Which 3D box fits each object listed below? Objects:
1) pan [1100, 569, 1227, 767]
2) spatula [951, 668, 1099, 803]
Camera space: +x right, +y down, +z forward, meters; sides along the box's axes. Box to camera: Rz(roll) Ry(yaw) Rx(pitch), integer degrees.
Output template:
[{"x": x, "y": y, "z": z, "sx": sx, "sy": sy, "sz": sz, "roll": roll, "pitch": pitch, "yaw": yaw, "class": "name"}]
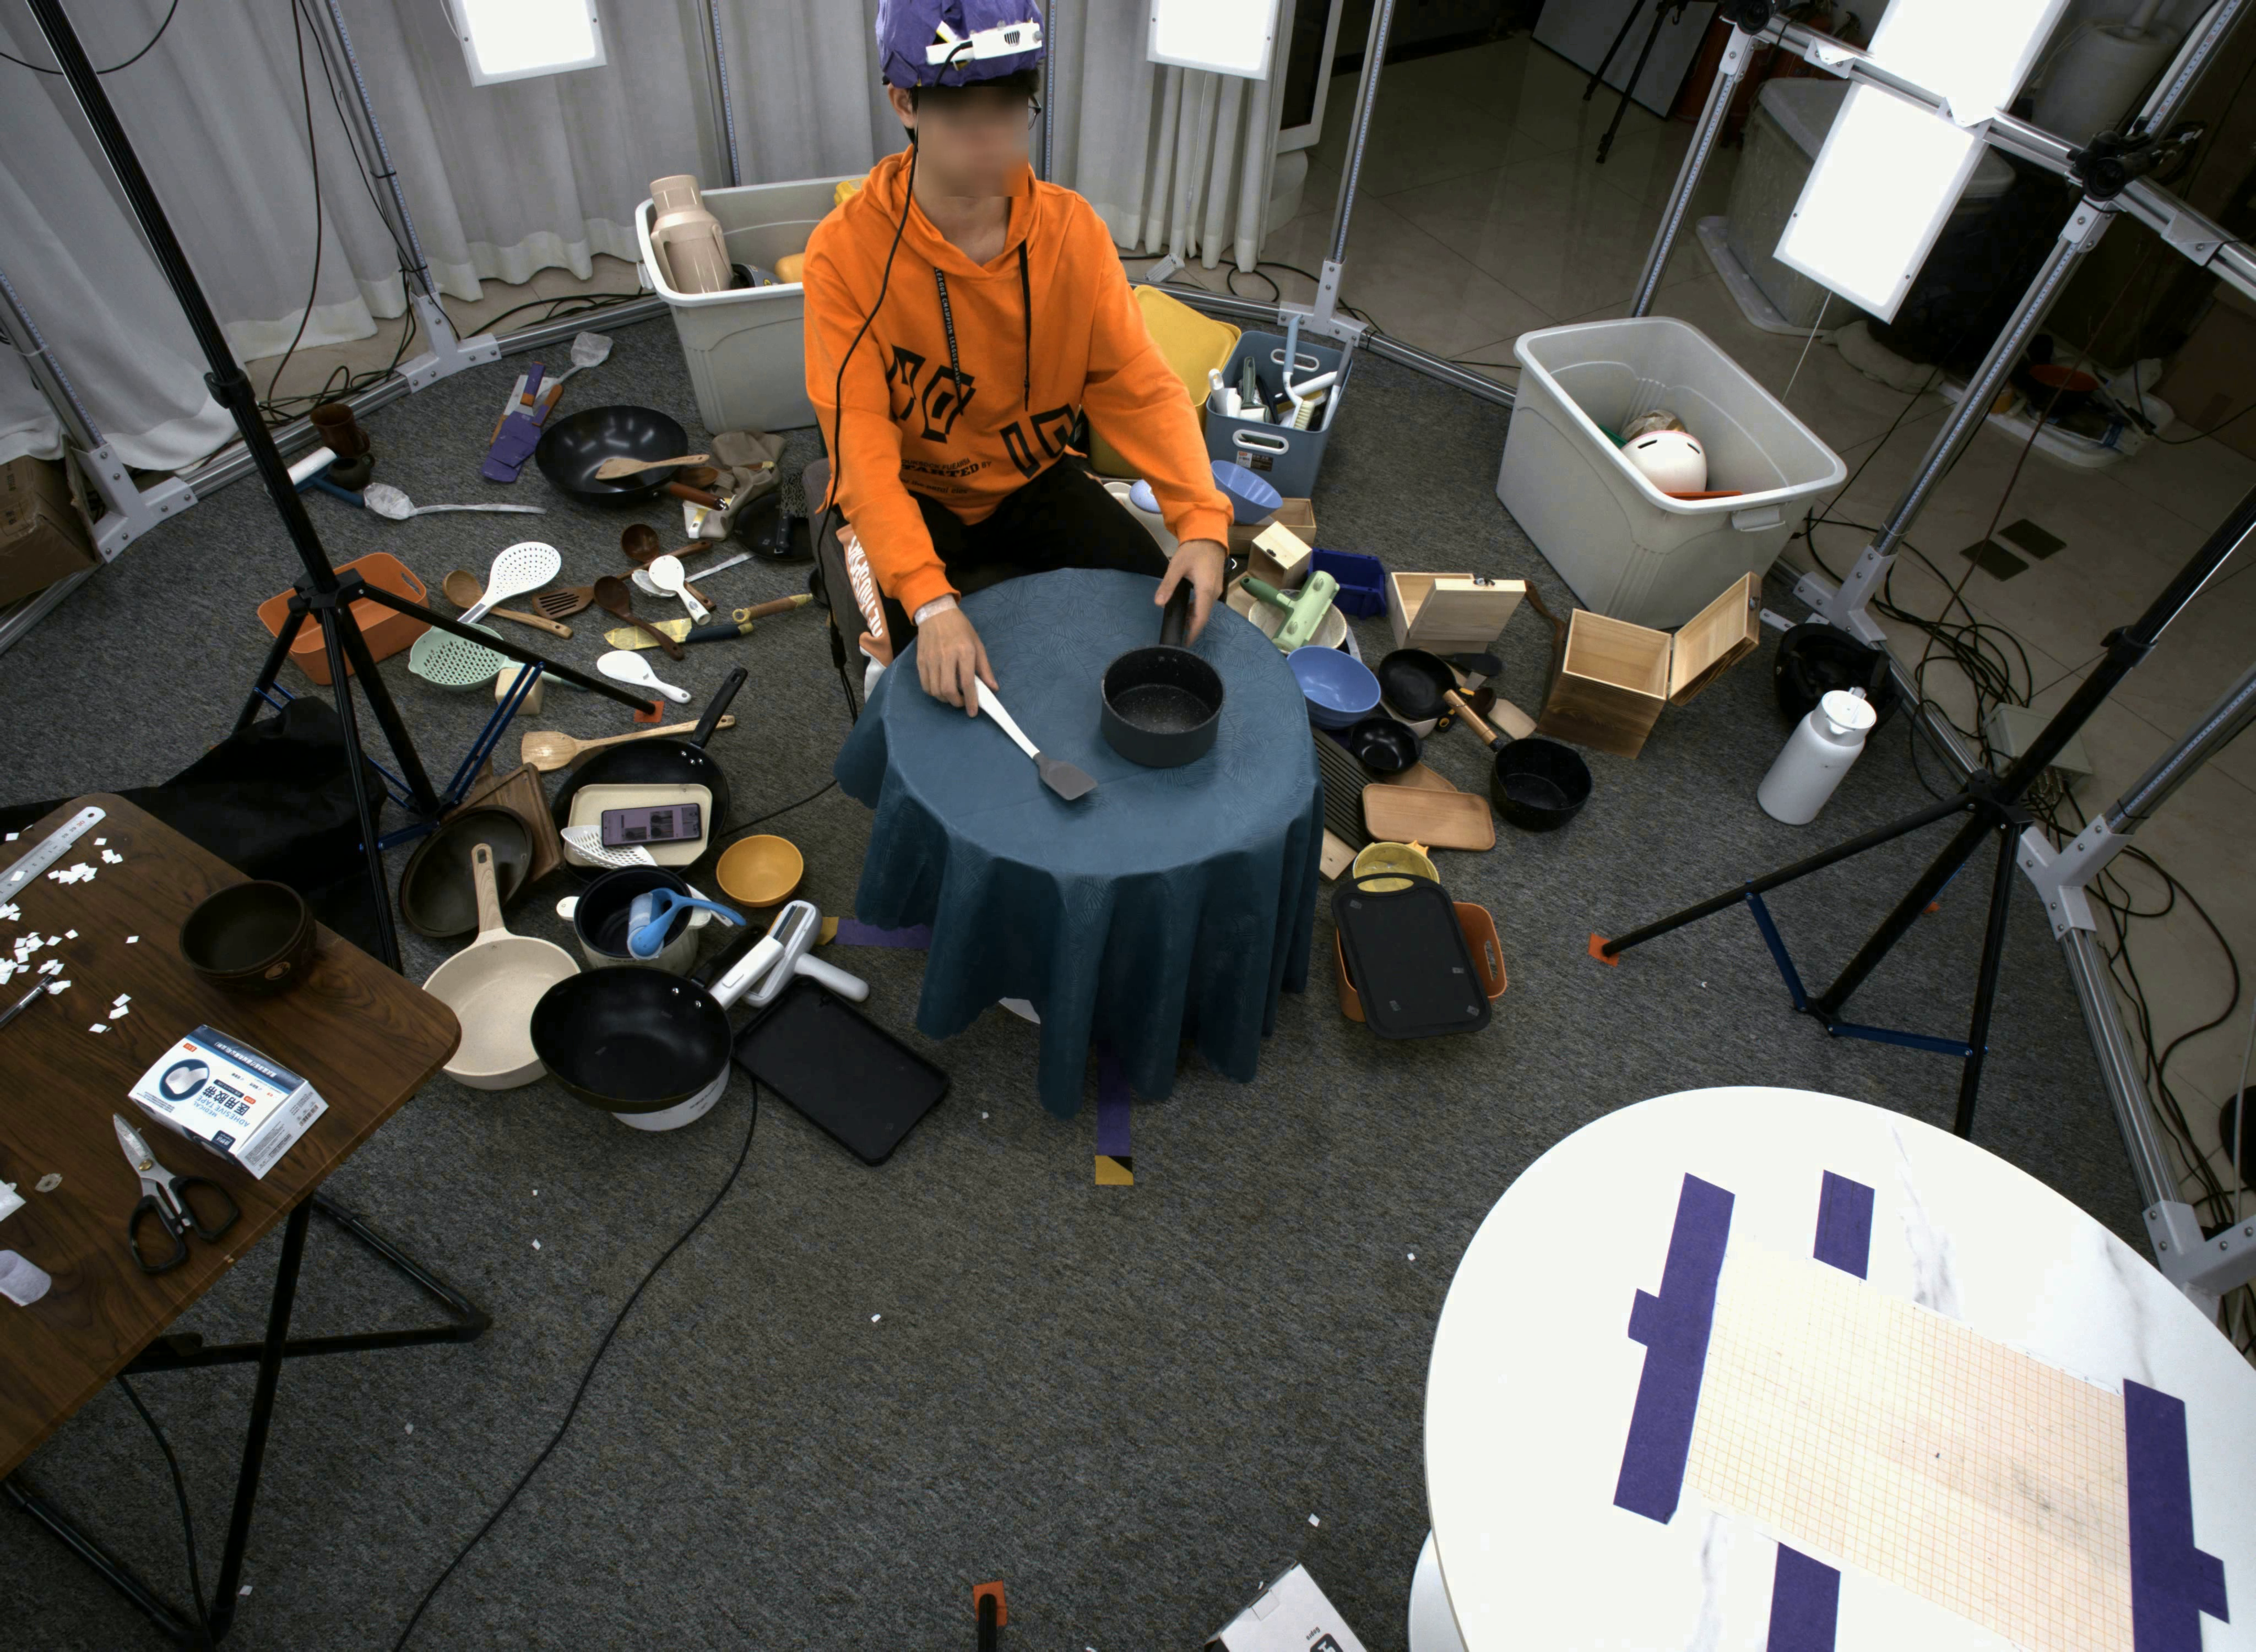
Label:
[{"x": 0.059, "y": -0.227, "z": 1.815, "sx": 0.172, "sy": 0.084, "sz": 0.336, "roll": 10, "pitch": 51, "yaw": 4, "class": "pan"}, {"x": -0.146, "y": -0.123, "z": 1.745, "sx": 0.059, "sy": 0.031, "sz": 0.293, "roll": -27, "pitch": 56, "yaw": -29, "class": "spatula"}]
